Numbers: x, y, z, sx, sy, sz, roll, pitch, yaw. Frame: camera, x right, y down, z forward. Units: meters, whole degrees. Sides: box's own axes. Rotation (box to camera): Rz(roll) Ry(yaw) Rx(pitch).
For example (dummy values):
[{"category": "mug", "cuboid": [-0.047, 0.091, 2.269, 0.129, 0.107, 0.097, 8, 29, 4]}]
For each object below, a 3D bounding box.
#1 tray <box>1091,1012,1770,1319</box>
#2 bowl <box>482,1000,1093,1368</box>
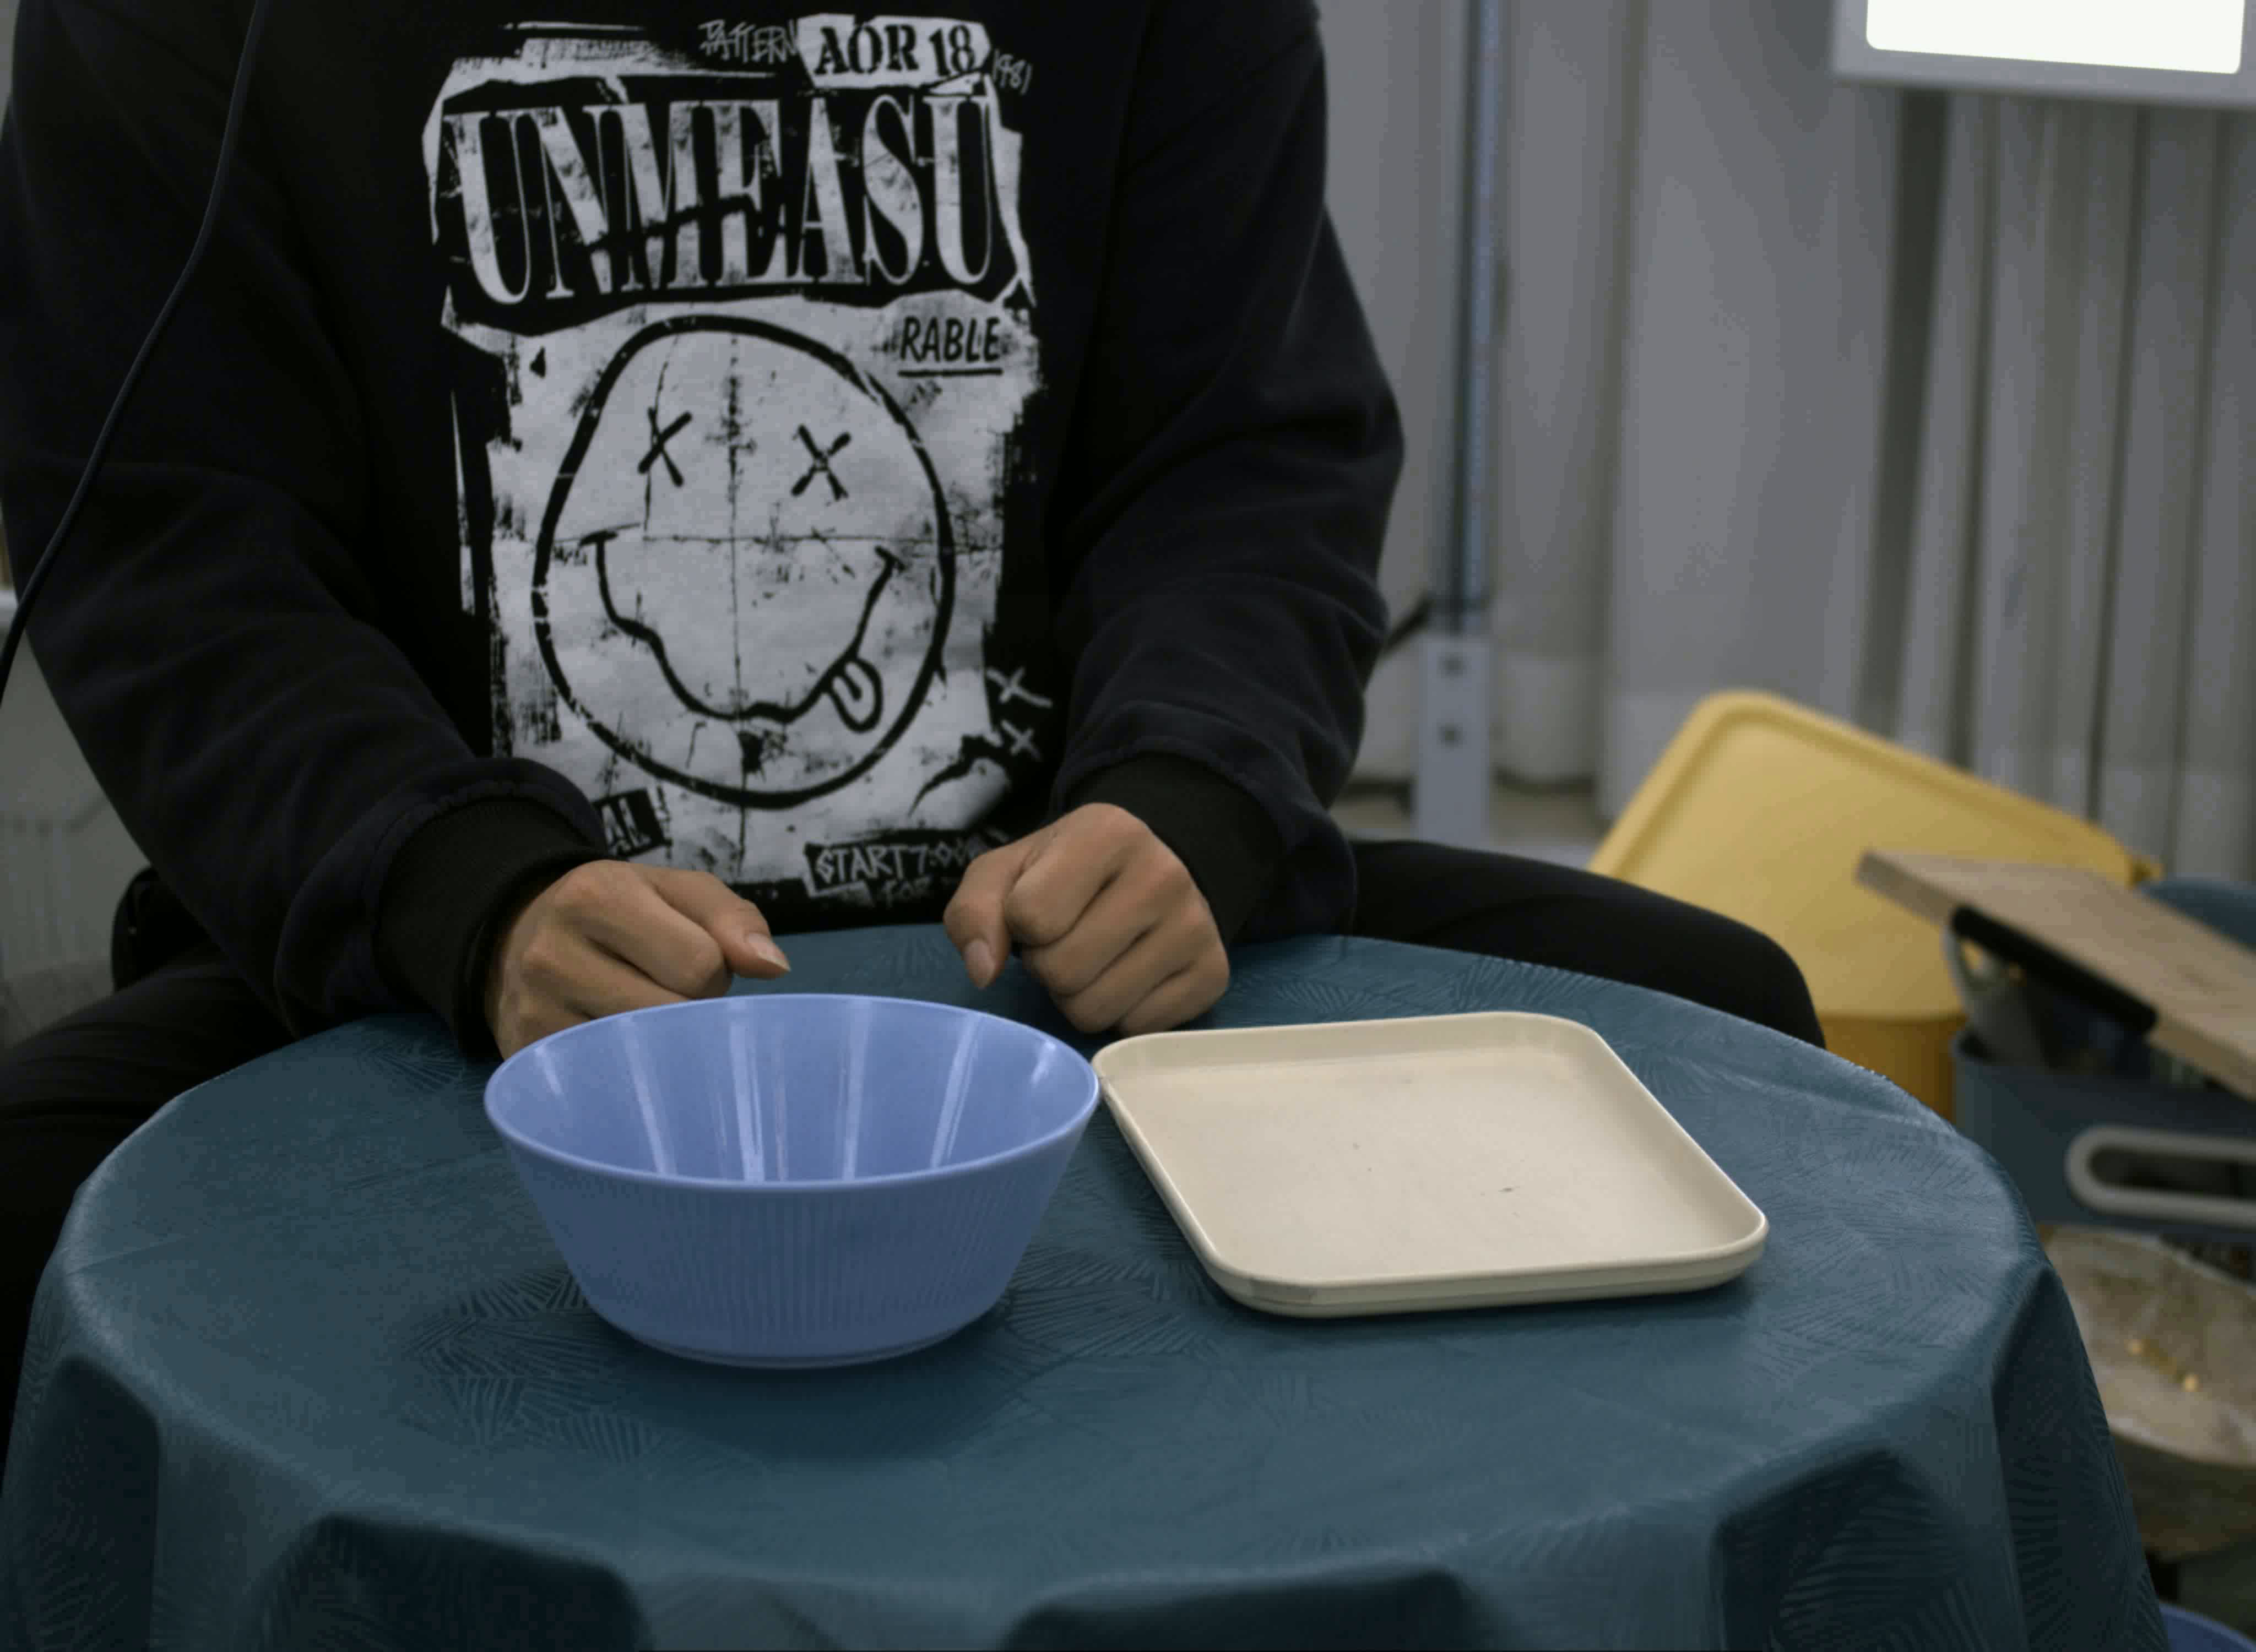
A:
[{"category": "tray", "cuboid": [0.089, 0.104, 1.629, 0.171, 0.017, 0.237, -2, 16, -11]}, {"category": "bowl", "cuboid": [-0.098, 0.105, 1.517, 0.175, 0.071, 0.175, 2, 15, 0]}]
